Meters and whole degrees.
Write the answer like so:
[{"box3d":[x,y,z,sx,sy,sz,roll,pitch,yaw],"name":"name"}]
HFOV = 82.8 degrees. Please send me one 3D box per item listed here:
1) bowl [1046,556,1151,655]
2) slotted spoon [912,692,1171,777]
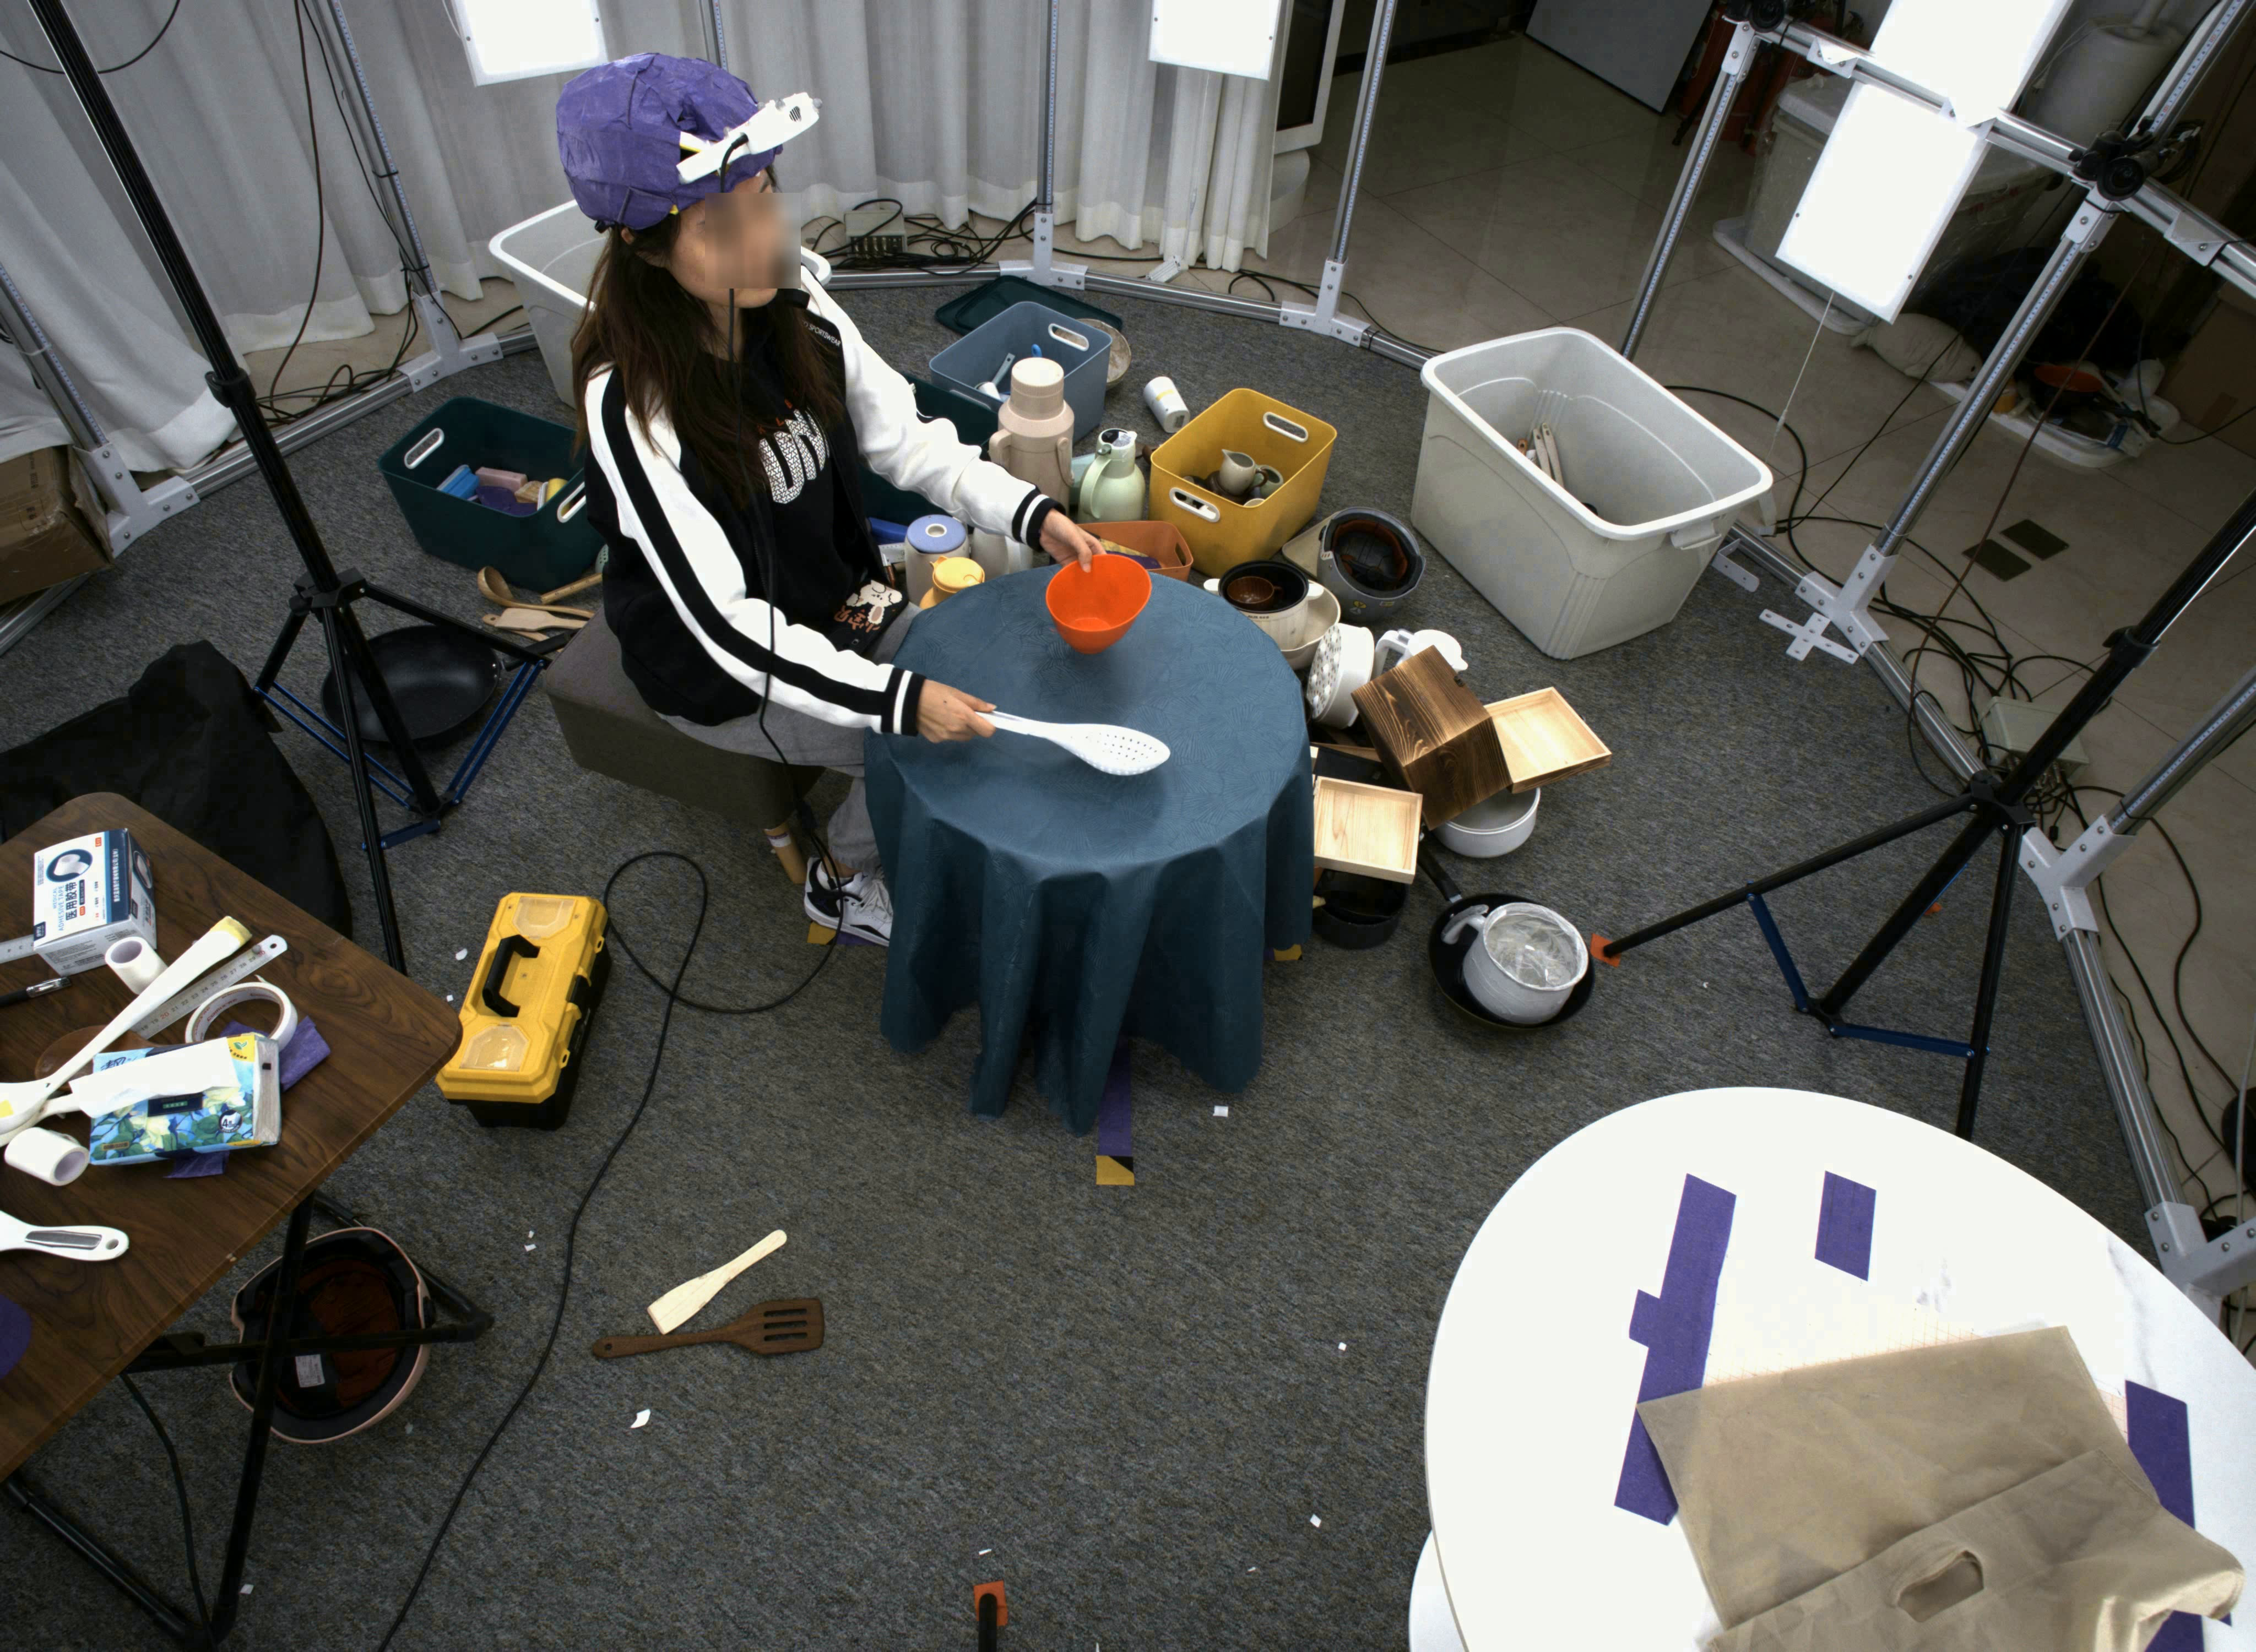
[{"box3d":[-0.042,-0.302,1.830,0.148,0.102,0.151,0,55,-1],"name":"bowl"},{"box3d":[-0.116,-0.127,1.705,0.350,0.045,0.138,18,22,2],"name":"slotted spoon"}]
